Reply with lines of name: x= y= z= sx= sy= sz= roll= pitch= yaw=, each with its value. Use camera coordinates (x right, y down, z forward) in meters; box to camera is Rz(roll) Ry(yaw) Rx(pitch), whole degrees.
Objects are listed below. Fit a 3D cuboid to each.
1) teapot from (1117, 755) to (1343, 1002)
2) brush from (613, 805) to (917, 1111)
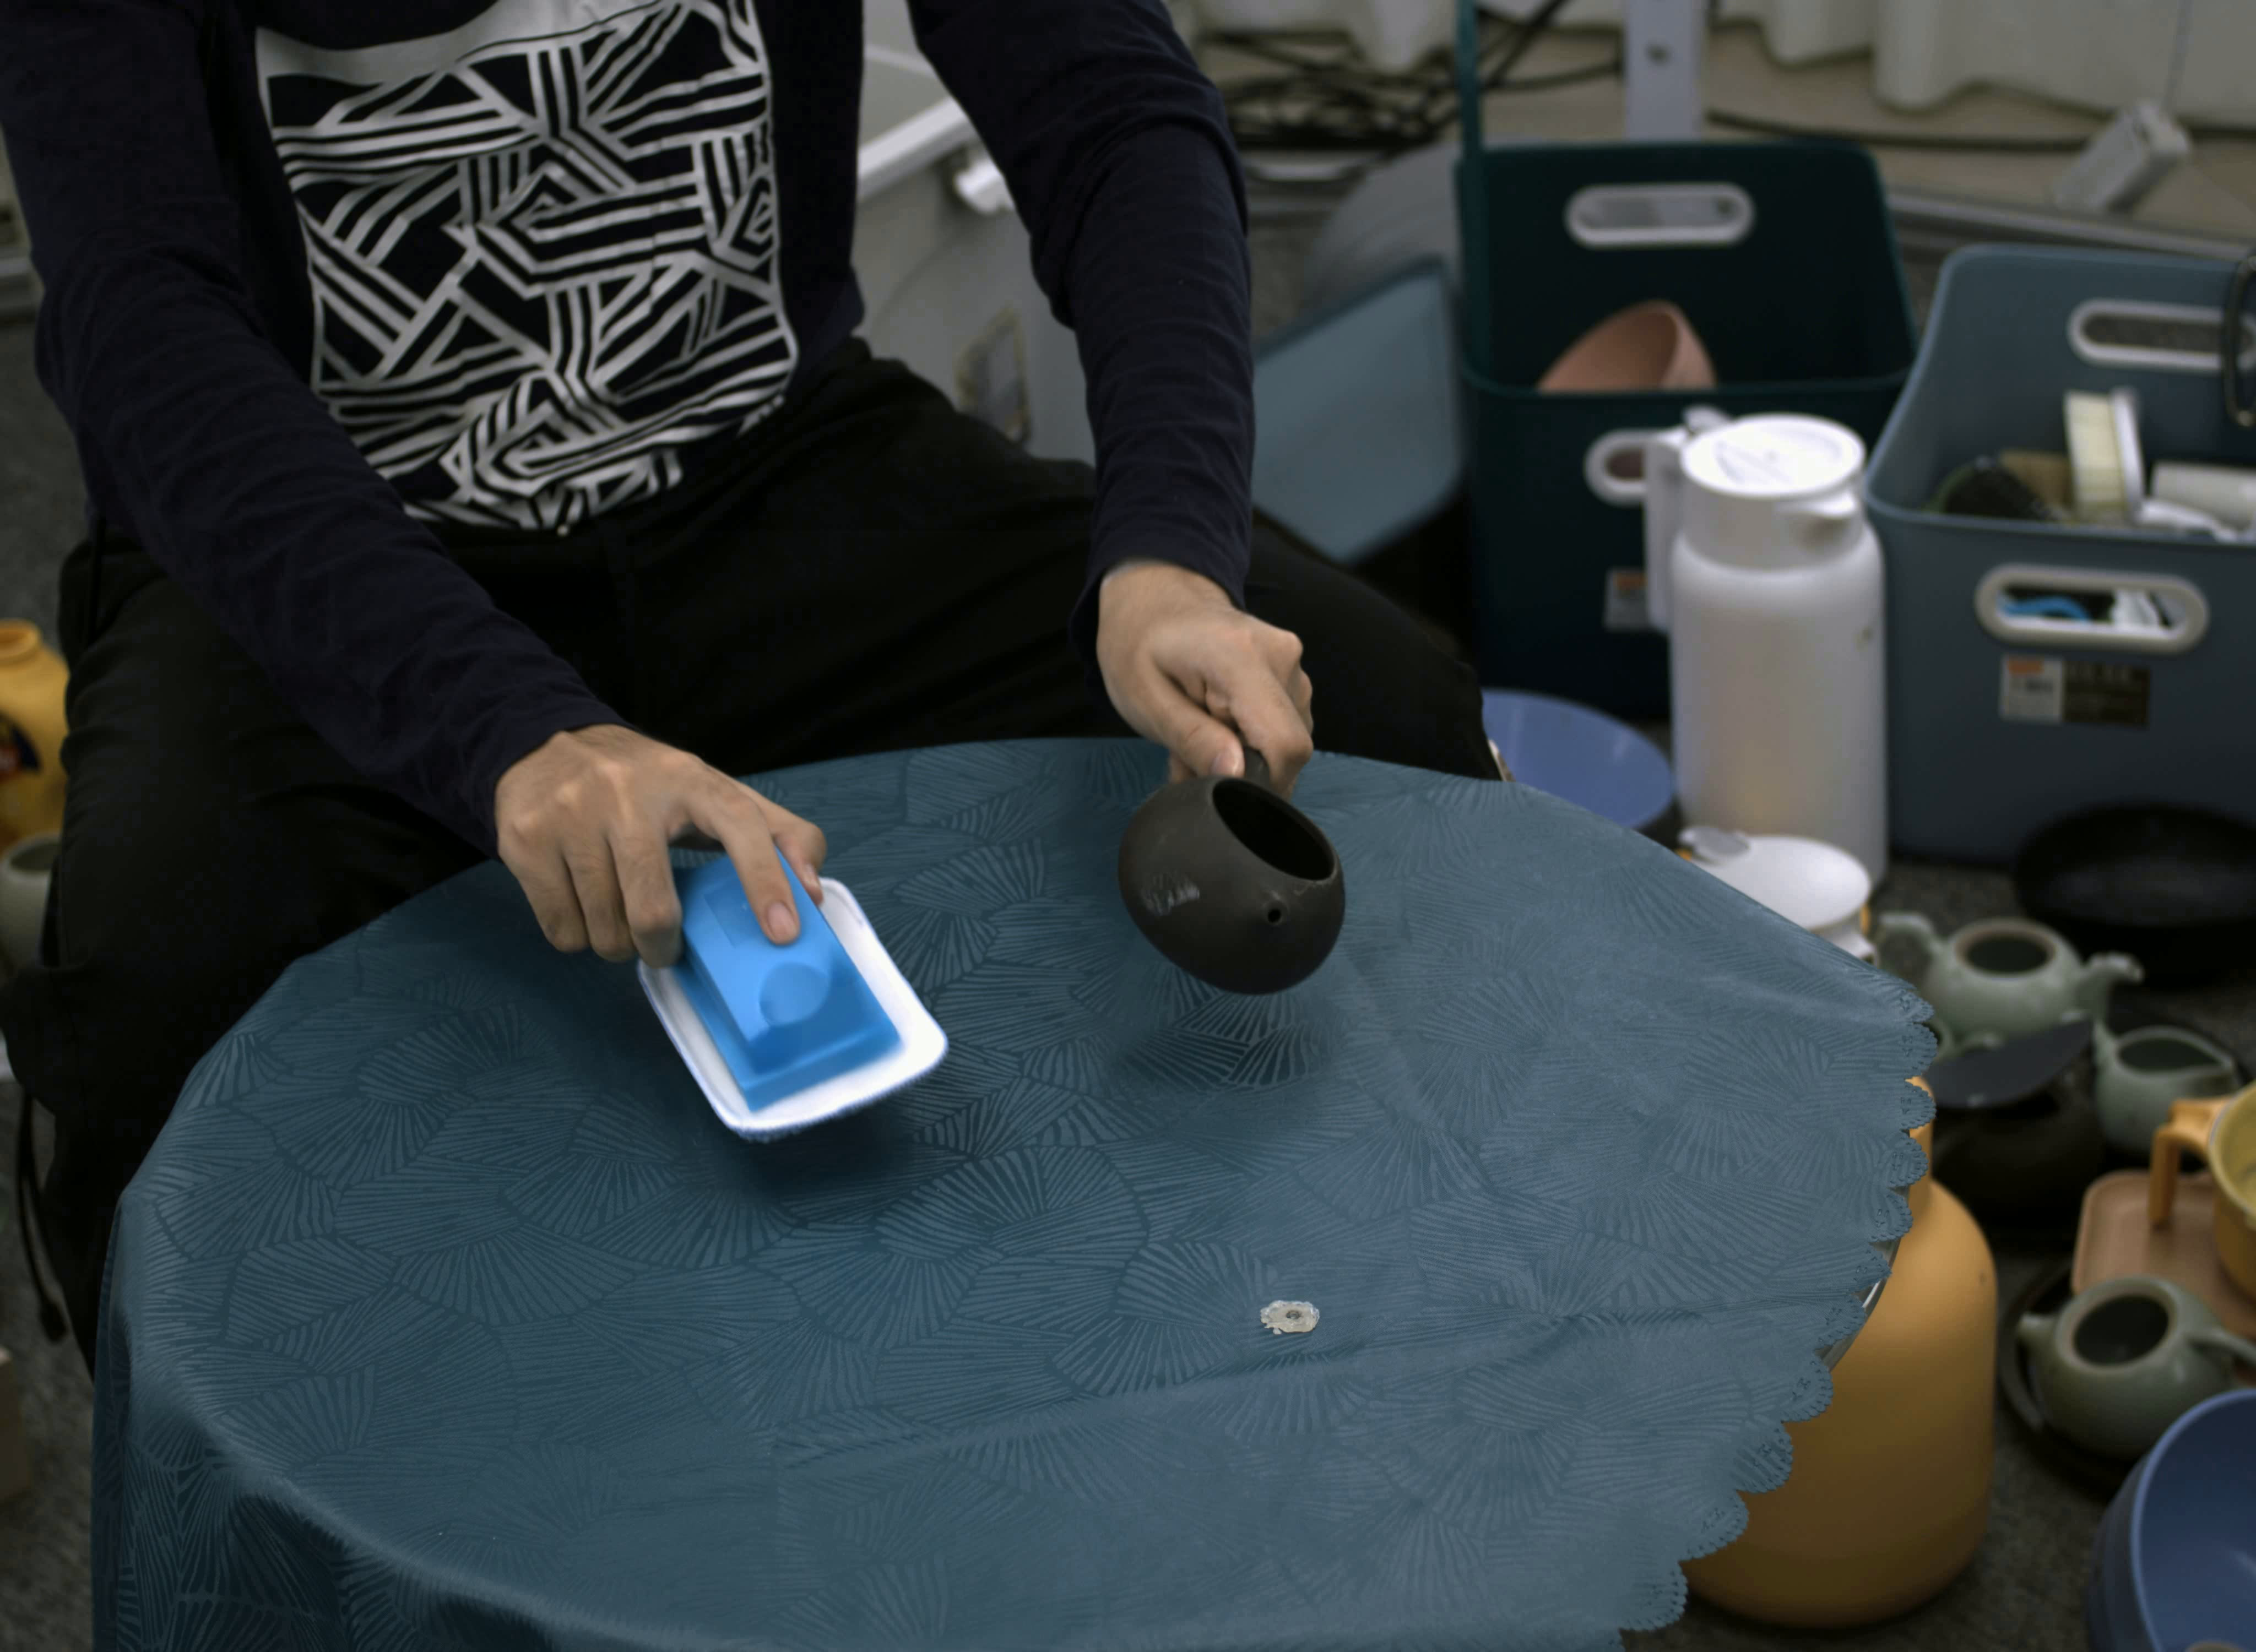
teapot: x=0.036 y=0.013 z=1.927 sx=0.082 sy=0.052 sz=0.116 roll=35 pitch=28 yaw=-18
brush: x=-0.125 y=0.040 z=1.904 sx=0.084 sy=0.055 sz=0.145 roll=-18 pitch=33 yaw=-9
